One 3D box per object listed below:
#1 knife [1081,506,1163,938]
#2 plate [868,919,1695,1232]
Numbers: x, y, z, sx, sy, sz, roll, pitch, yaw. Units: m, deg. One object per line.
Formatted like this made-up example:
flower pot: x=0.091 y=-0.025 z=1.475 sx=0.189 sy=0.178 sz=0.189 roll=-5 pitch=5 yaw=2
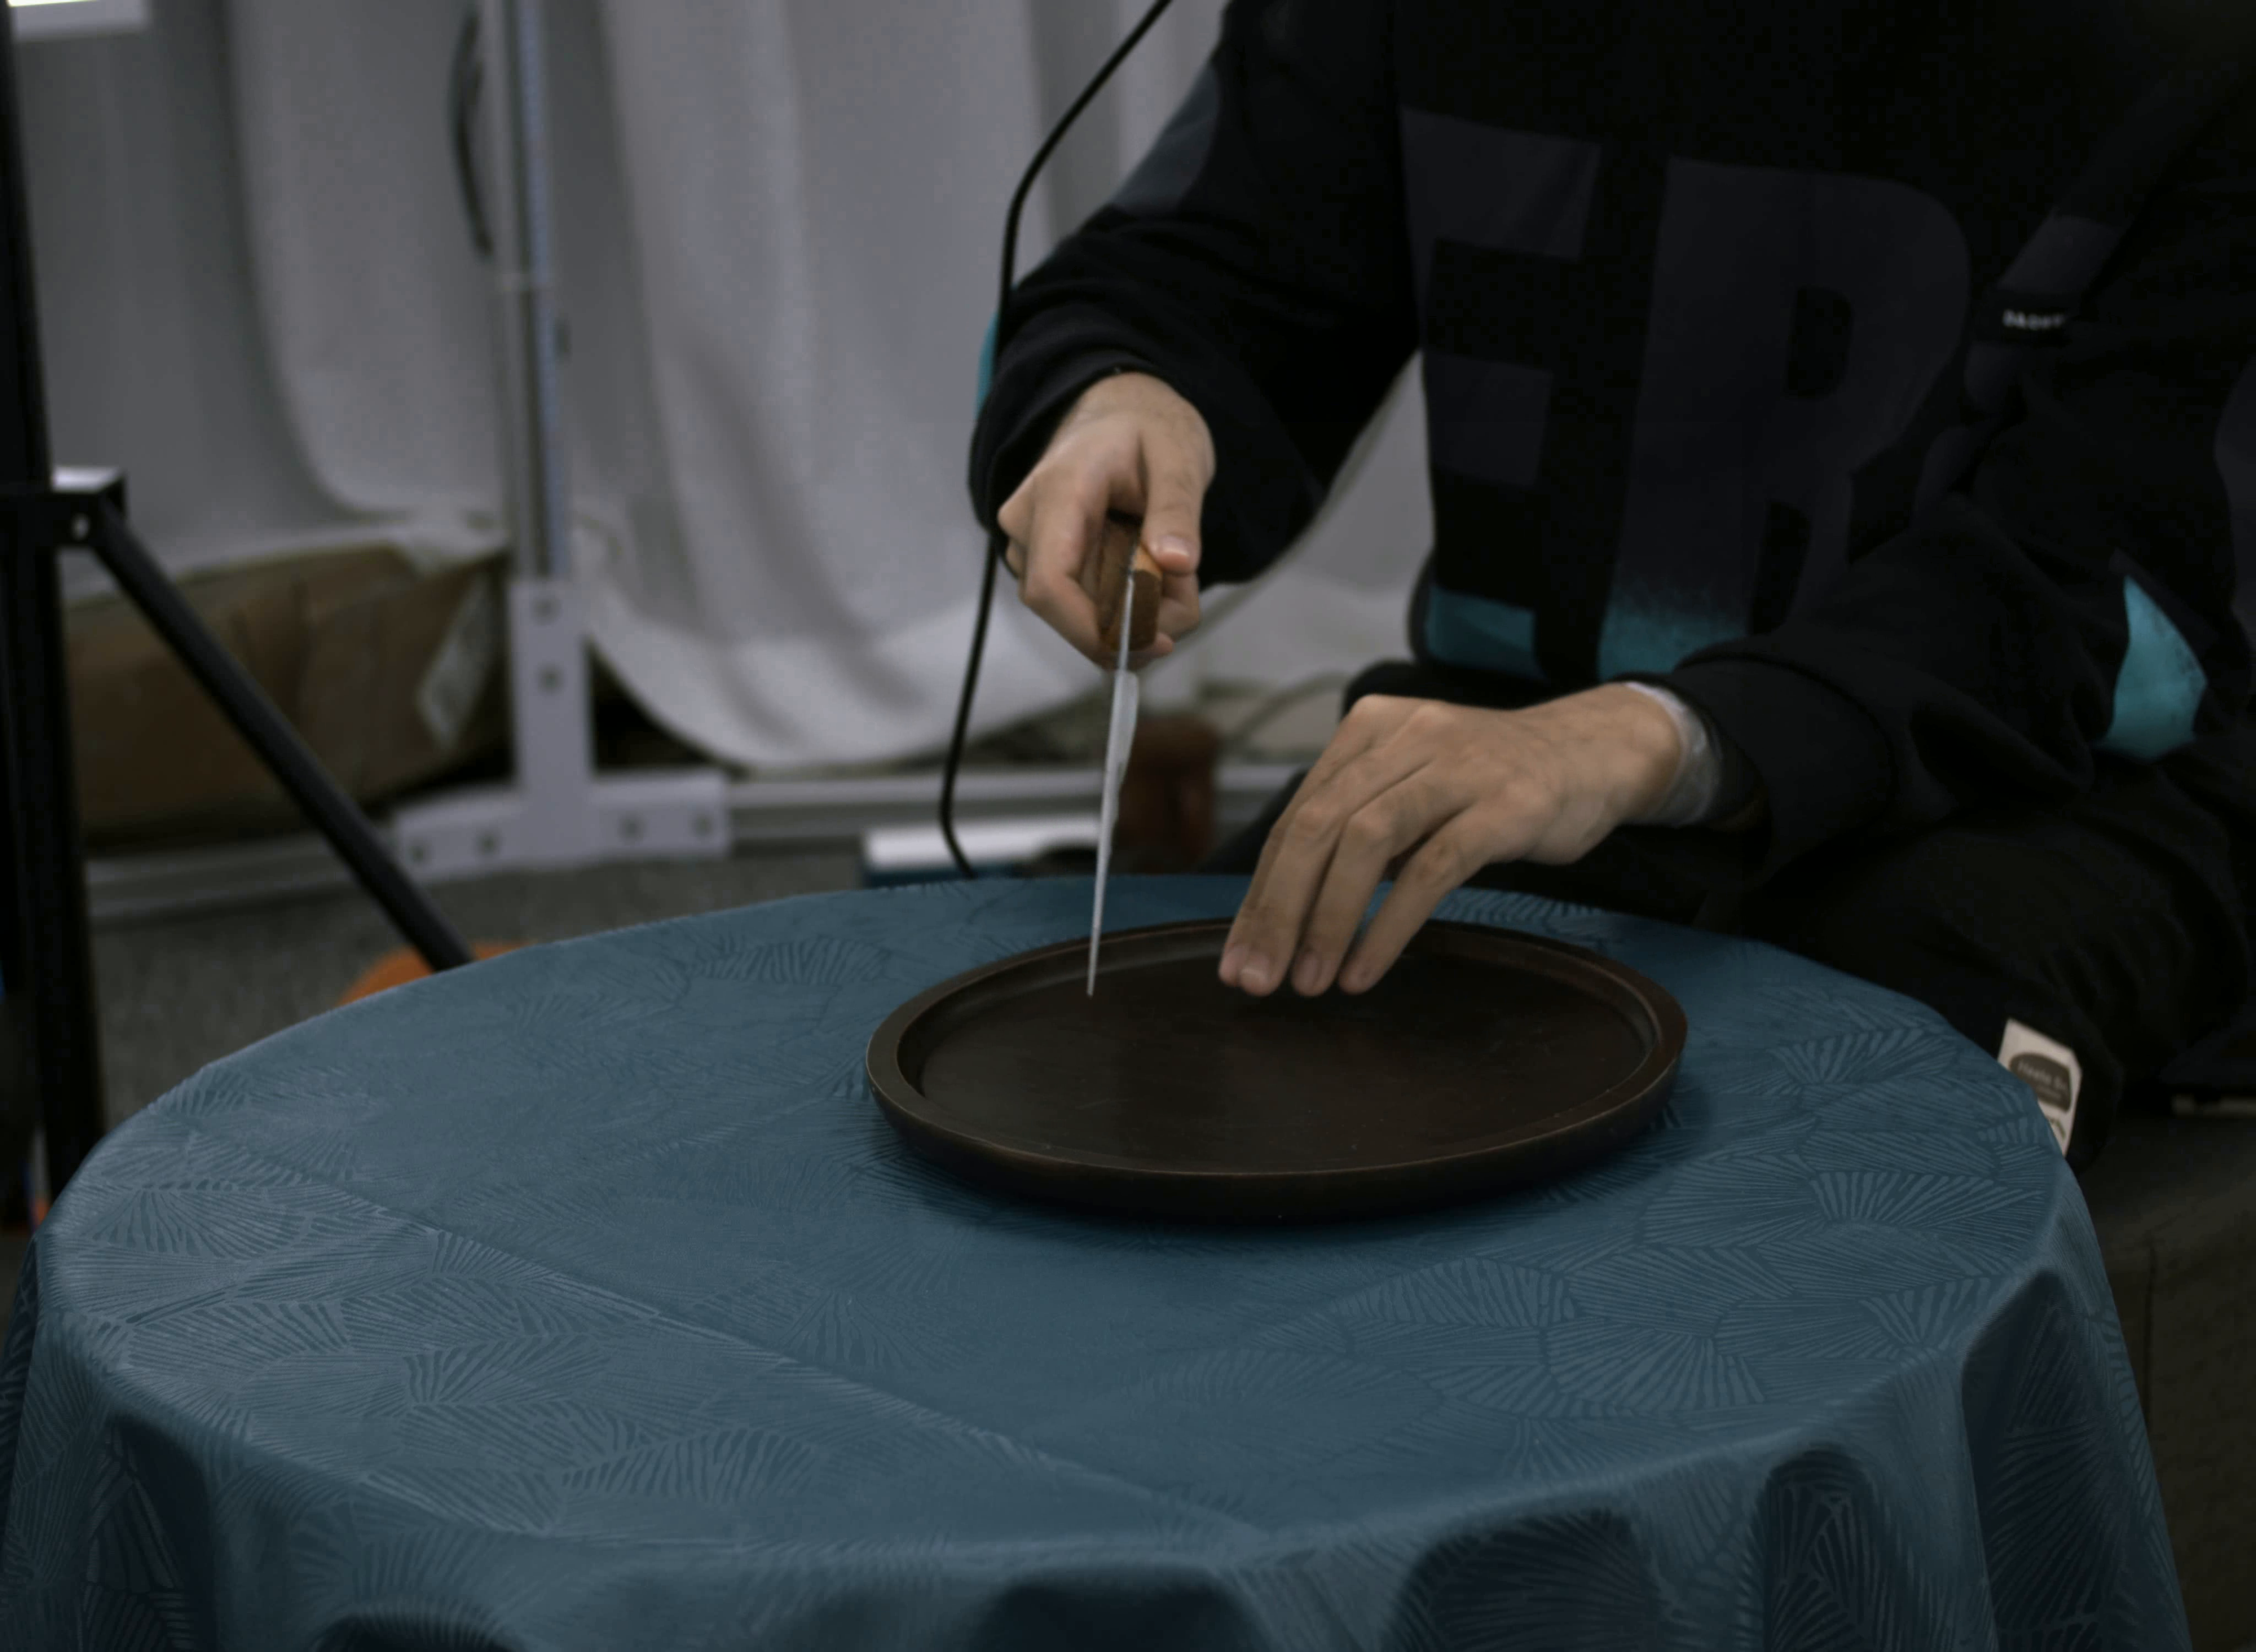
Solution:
knife: x=-0.005 y=-0.034 z=1.697 sx=0.021 sy=0.093 sz=0.306 roll=5 pitch=15 yaw=0
plate: x=0.047 y=0.073 z=1.626 sx=0.253 sy=0.029 sz=0.256 roll=-2 pitch=16 yaw=-1
